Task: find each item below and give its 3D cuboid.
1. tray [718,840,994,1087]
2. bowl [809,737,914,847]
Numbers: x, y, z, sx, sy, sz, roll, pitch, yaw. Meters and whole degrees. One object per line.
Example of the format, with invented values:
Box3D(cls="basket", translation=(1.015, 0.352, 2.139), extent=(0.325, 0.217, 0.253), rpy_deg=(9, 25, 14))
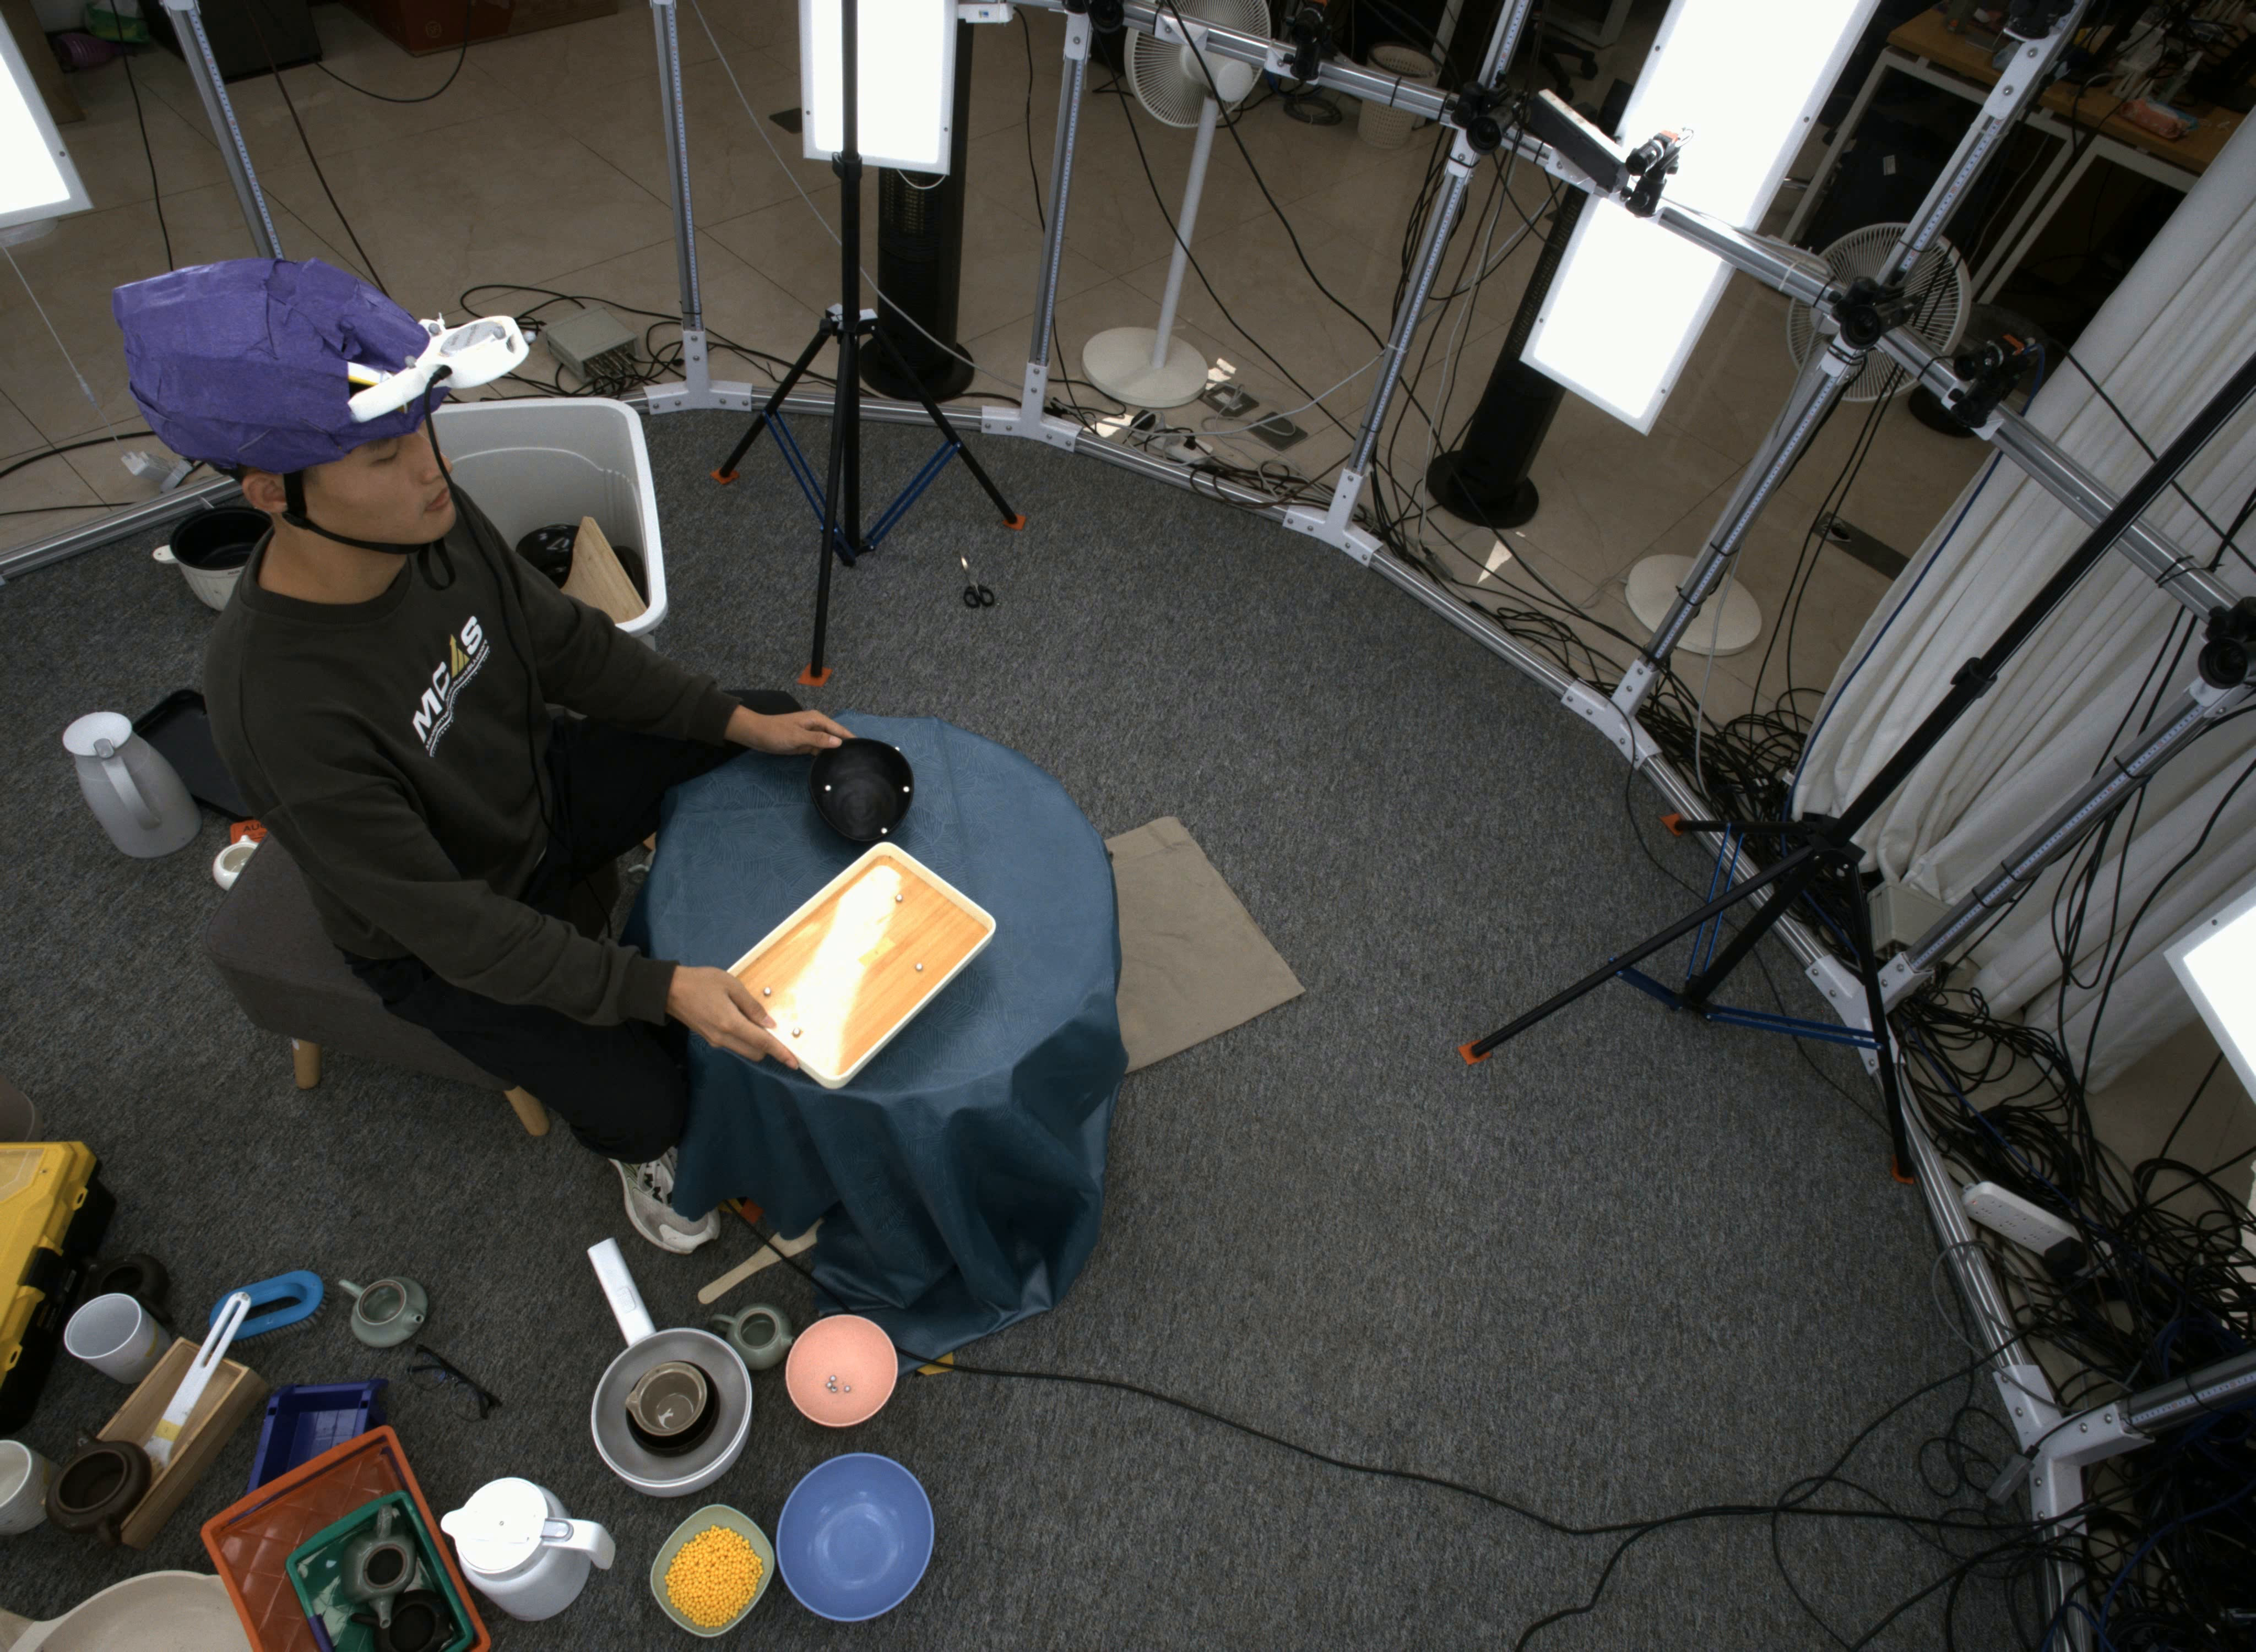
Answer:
Box3D(cls="tray", translation=(-0.316, 0.152, 1.542), extent=(0.188, 0.028, 0.300), rpy_deg=(36, 50, 10))
Box3D(cls="bowl", translation=(-0.355, -0.037, 1.740), extent=(0.137, 0.068, 0.166), rpy_deg=(-7, 57, -16))
